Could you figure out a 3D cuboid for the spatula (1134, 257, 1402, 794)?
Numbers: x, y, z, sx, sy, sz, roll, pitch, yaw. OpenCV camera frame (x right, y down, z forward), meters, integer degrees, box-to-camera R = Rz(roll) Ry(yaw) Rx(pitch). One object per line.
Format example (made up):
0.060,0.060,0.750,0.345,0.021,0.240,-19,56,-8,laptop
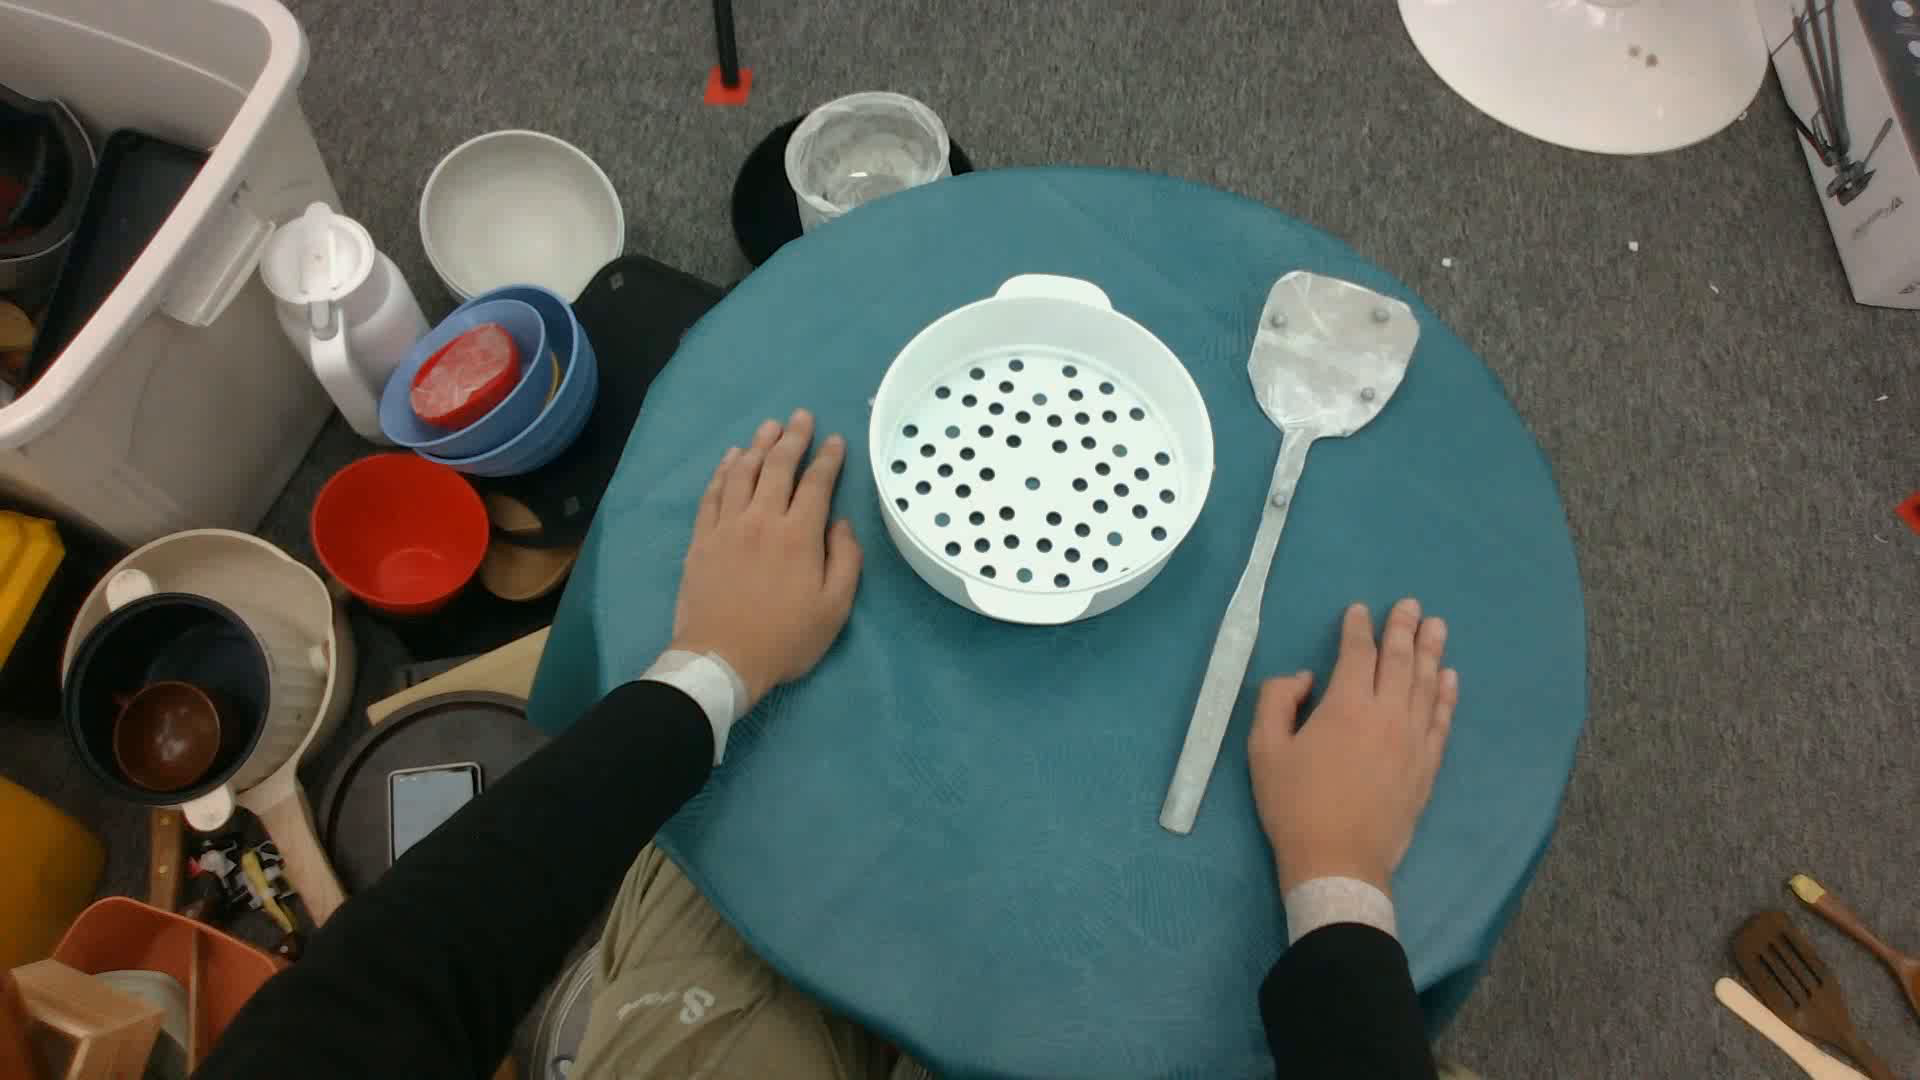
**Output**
0.177,-0.013,0.832,0.098,0.044,0.366,22,66,4,spatula

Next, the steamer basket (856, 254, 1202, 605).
0.039,-0.060,0.826,0.202,0.069,0.231,7,66,0,steamer basket
